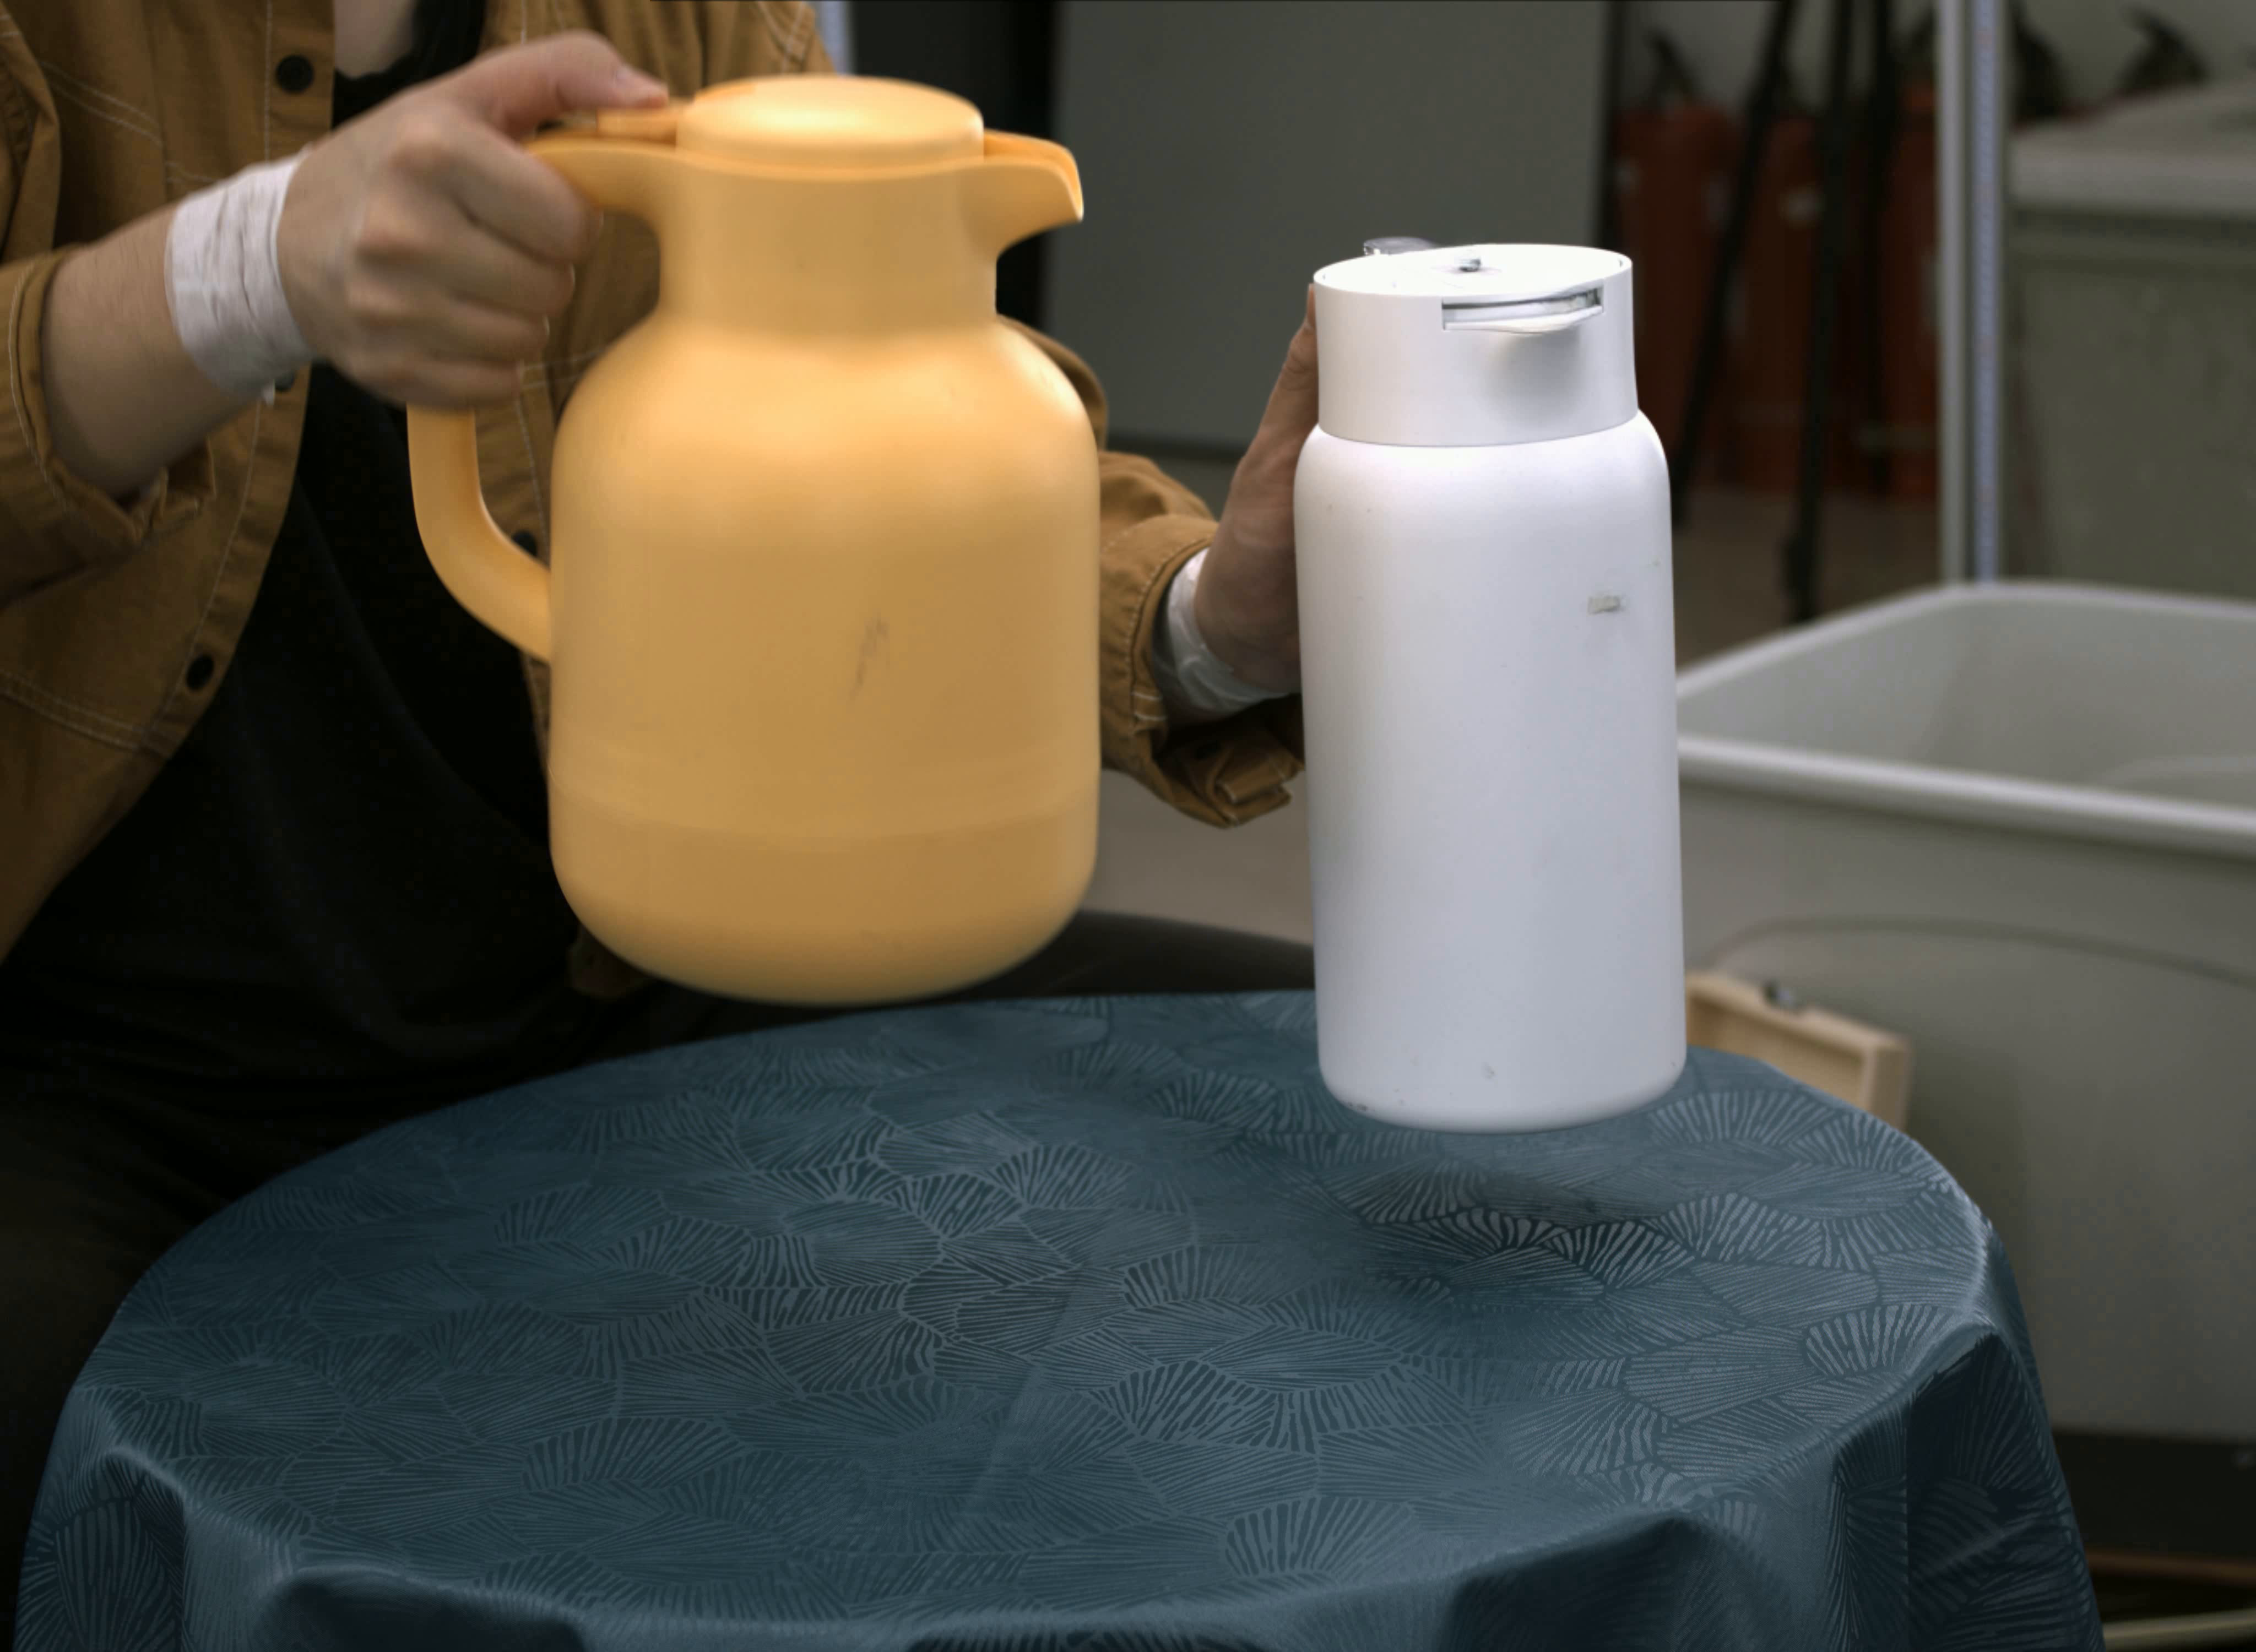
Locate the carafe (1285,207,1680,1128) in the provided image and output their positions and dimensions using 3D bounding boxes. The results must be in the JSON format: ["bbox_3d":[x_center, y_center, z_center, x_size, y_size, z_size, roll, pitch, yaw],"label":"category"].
[{"bbox_3d":[0.103,-0.052,1.688,0.121,0.272,0.174,-10,14,-17],"label":"carafe"}]

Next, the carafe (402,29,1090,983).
[{"bbox_3d":[-0.110,-0.097,1.568,0.200,0.263,0.163,5,14,7],"label":"carafe"}]
